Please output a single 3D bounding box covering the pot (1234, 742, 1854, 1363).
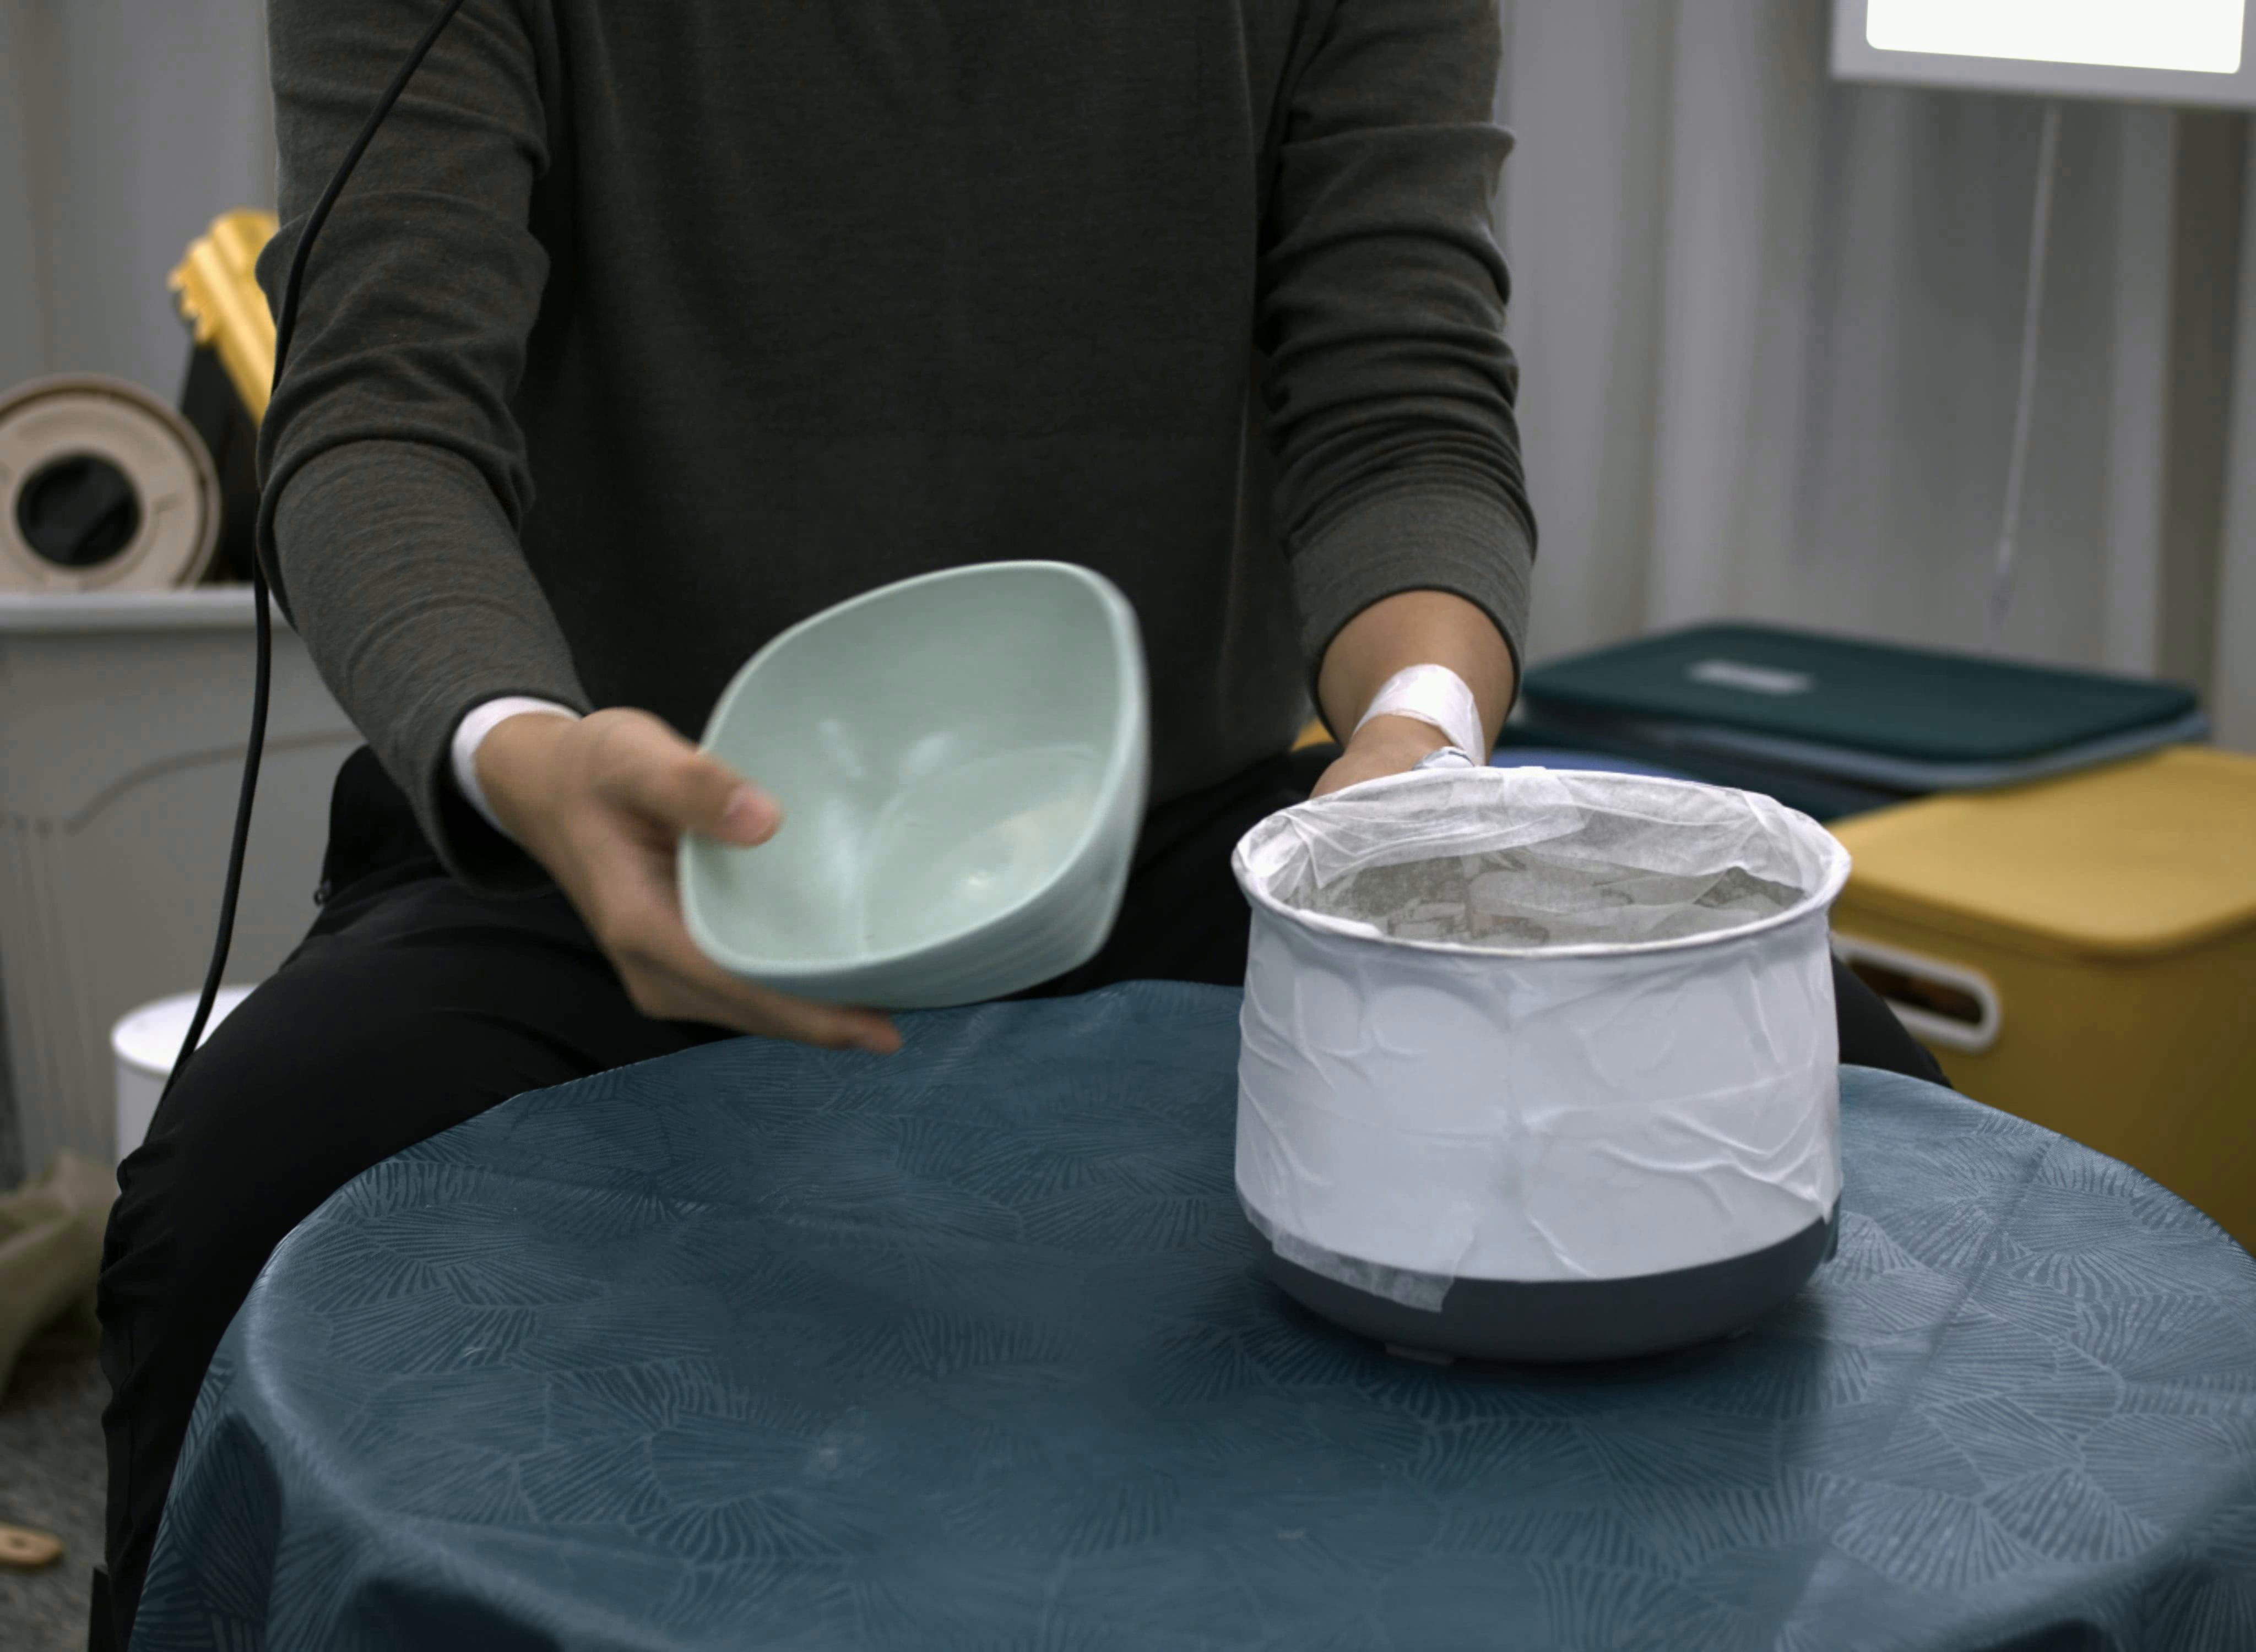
[{"bbox_3d":[0.112,0.060,1.548,0.179,0.138,0.231,-4,18,-13],"label":"pot"}]

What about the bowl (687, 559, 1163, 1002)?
[{"bbox_3d":[-0.047,-0.003,1.458,0.150,0.059,0.150,-14,46,16],"label":"bowl"}]
